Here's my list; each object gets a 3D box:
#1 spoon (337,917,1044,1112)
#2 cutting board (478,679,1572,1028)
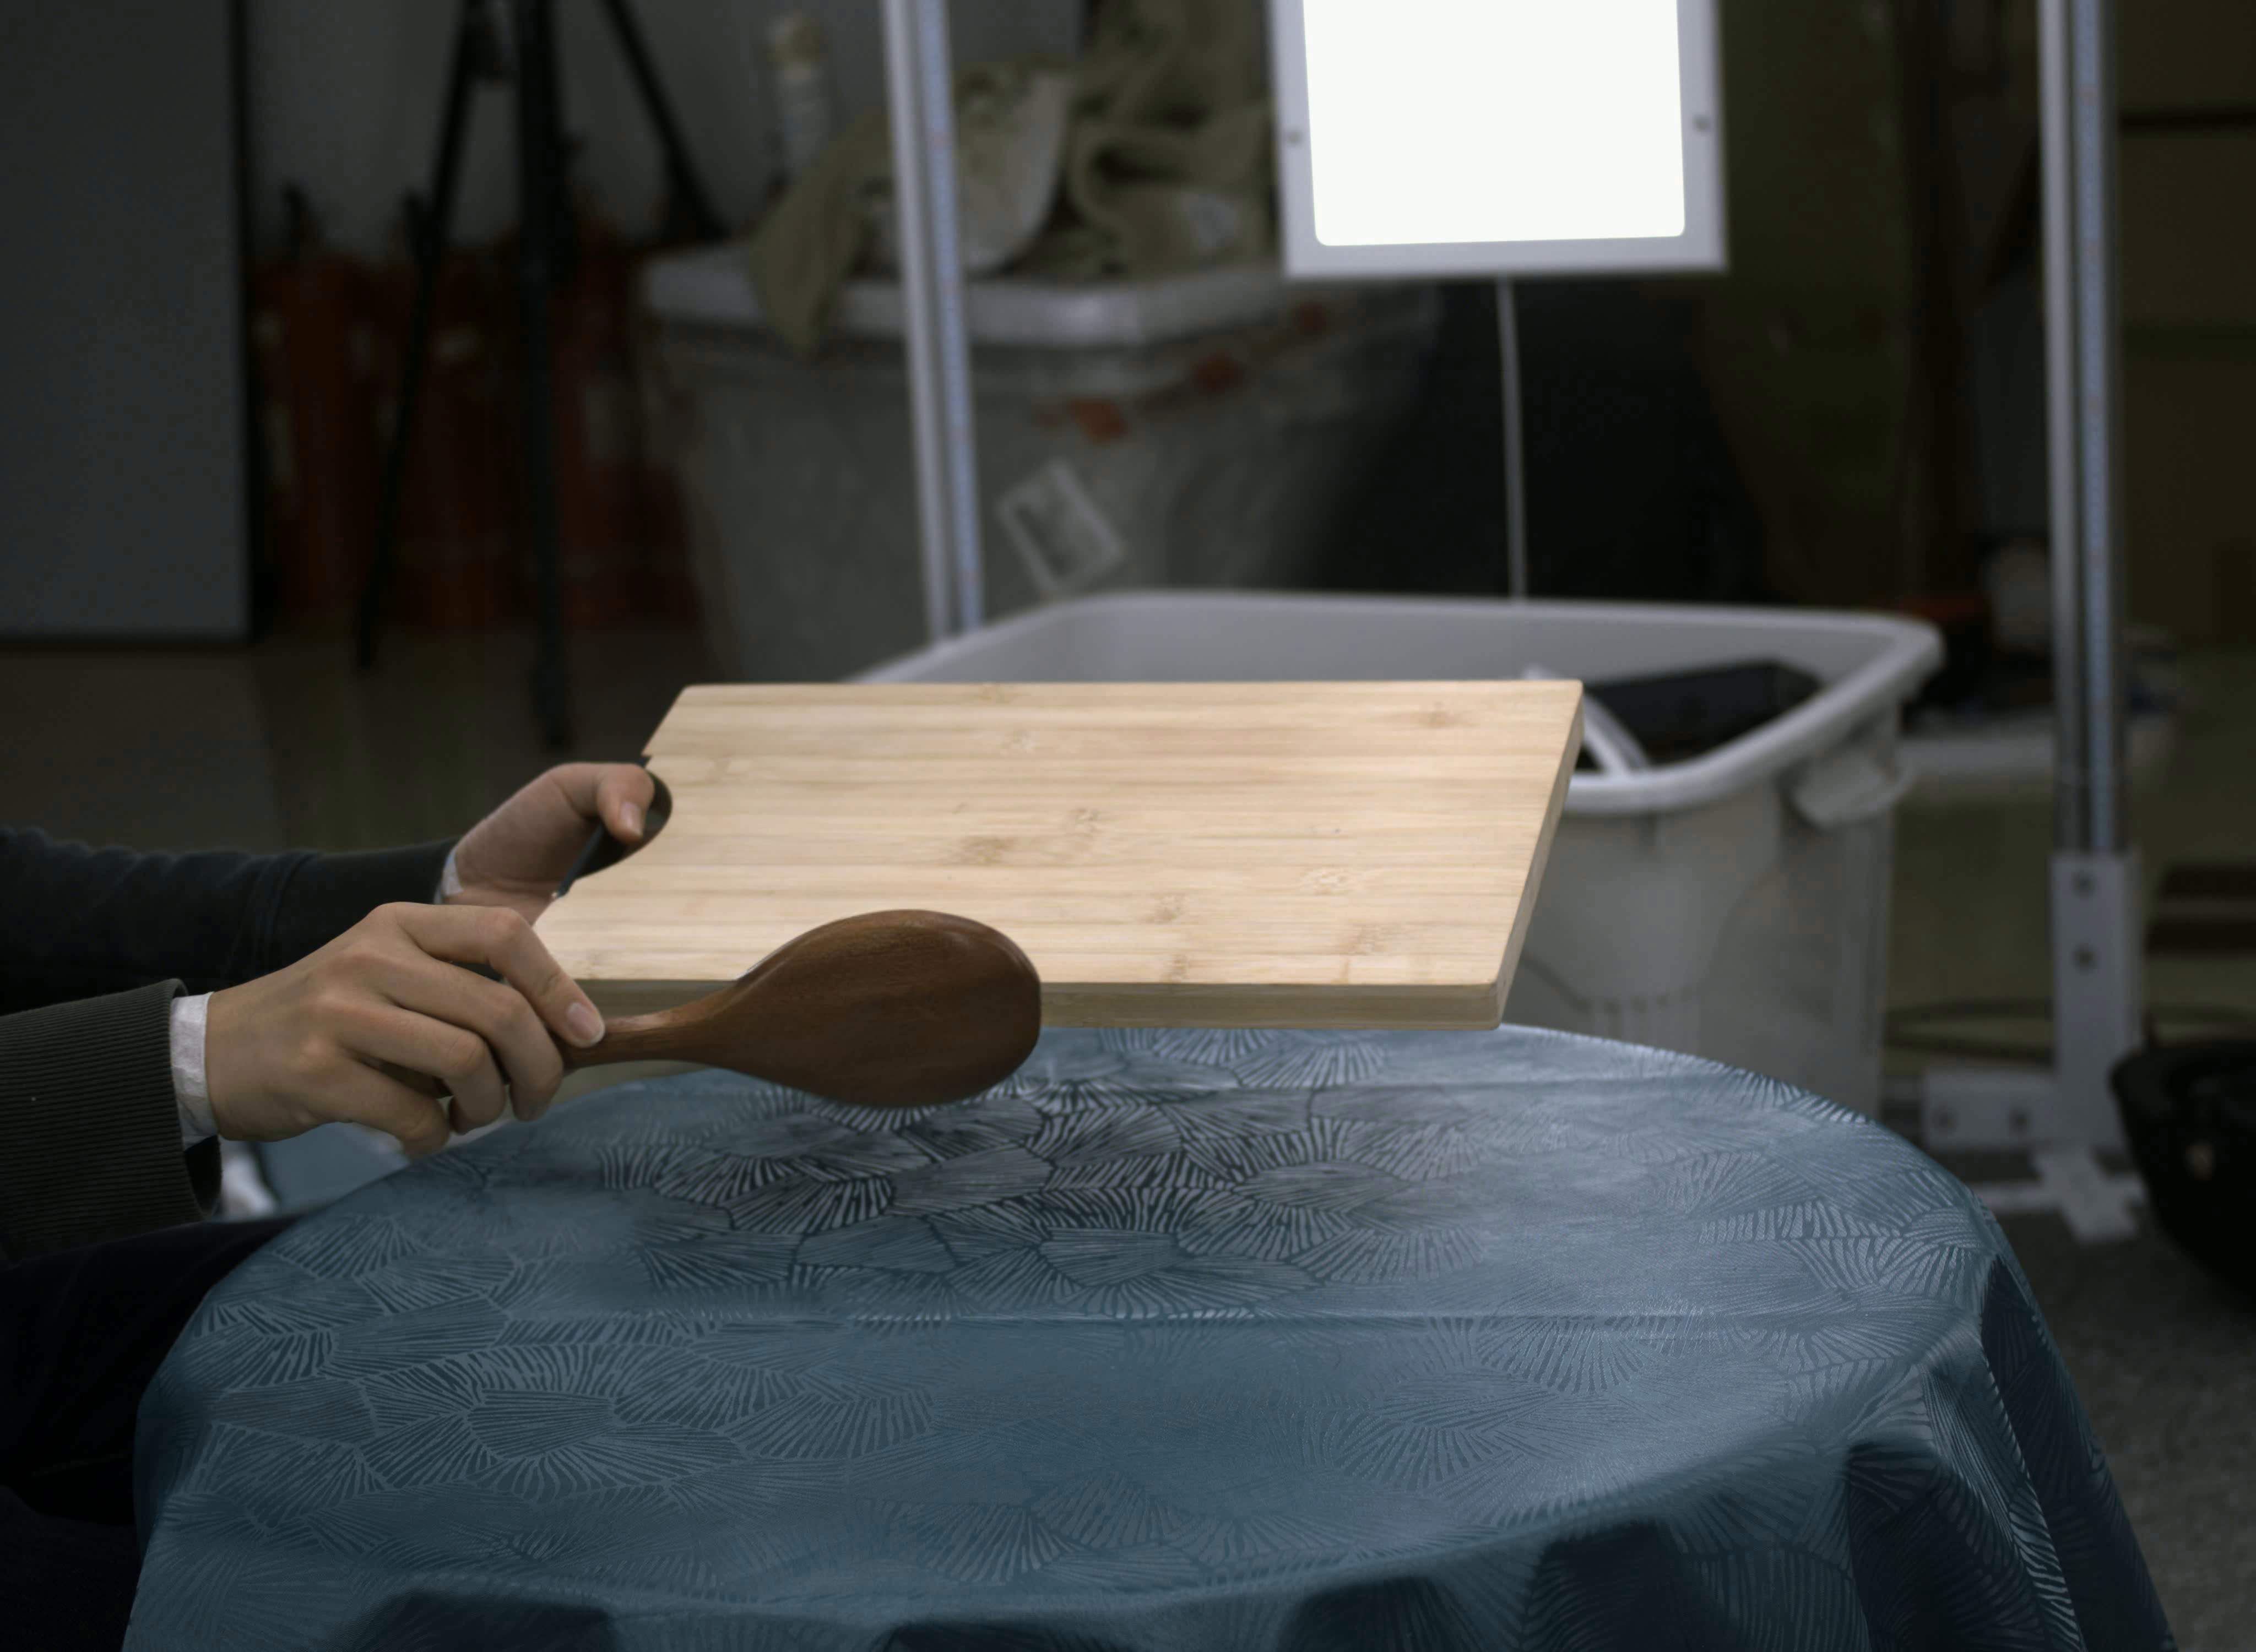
[{"bbox_3d":[-0.132,0.063,1.658,0.217,0.075,0.017,-4,38,9],"label":"spoon"},{"bbox_3d":[-0.029,0.007,1.926,0.351,0.023,0.248,-1,25,13],"label":"cutting board"}]
